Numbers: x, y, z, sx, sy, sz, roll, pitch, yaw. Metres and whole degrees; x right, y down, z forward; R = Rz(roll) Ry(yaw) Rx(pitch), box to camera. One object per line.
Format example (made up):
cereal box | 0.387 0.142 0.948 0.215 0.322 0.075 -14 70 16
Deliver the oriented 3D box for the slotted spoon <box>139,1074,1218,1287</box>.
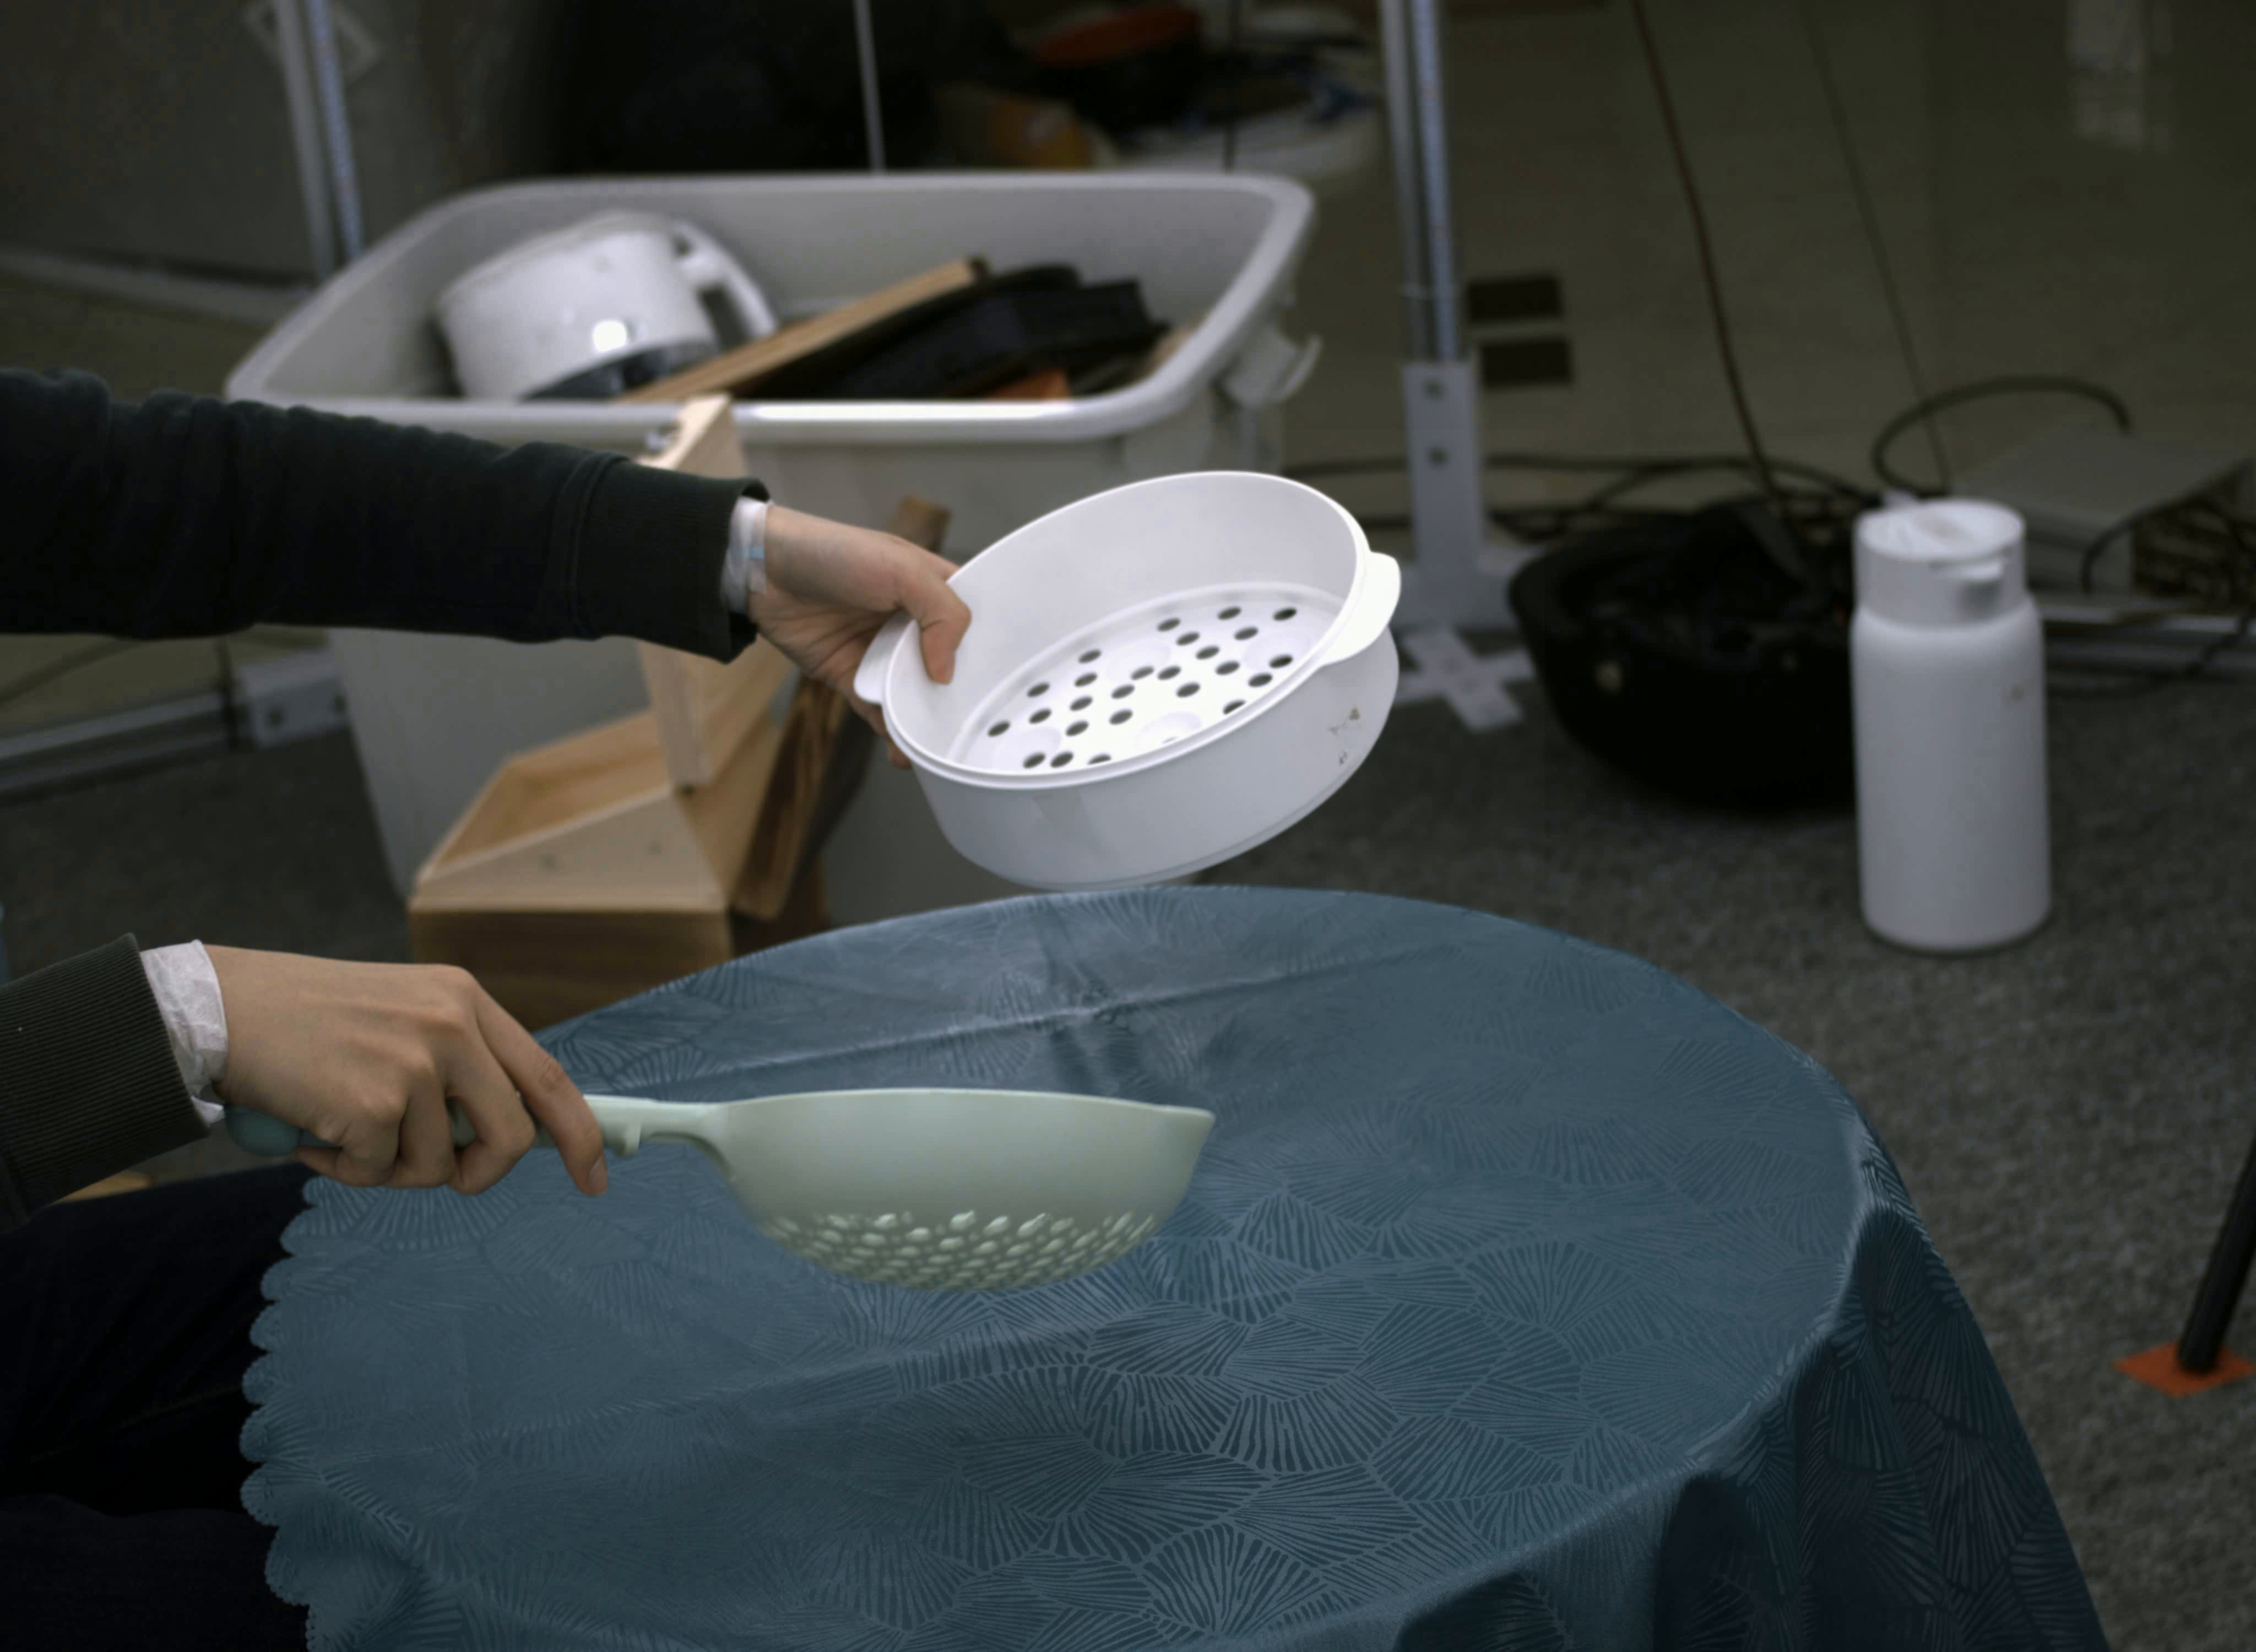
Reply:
slotted spoon | -0.148 0.105 1.896 0.359 0.075 0.170 12 -13 -18

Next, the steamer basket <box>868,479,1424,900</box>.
steamer basket | 0.014 -0.053 2.217 0.230 0.070 0.198 -4 37 25
